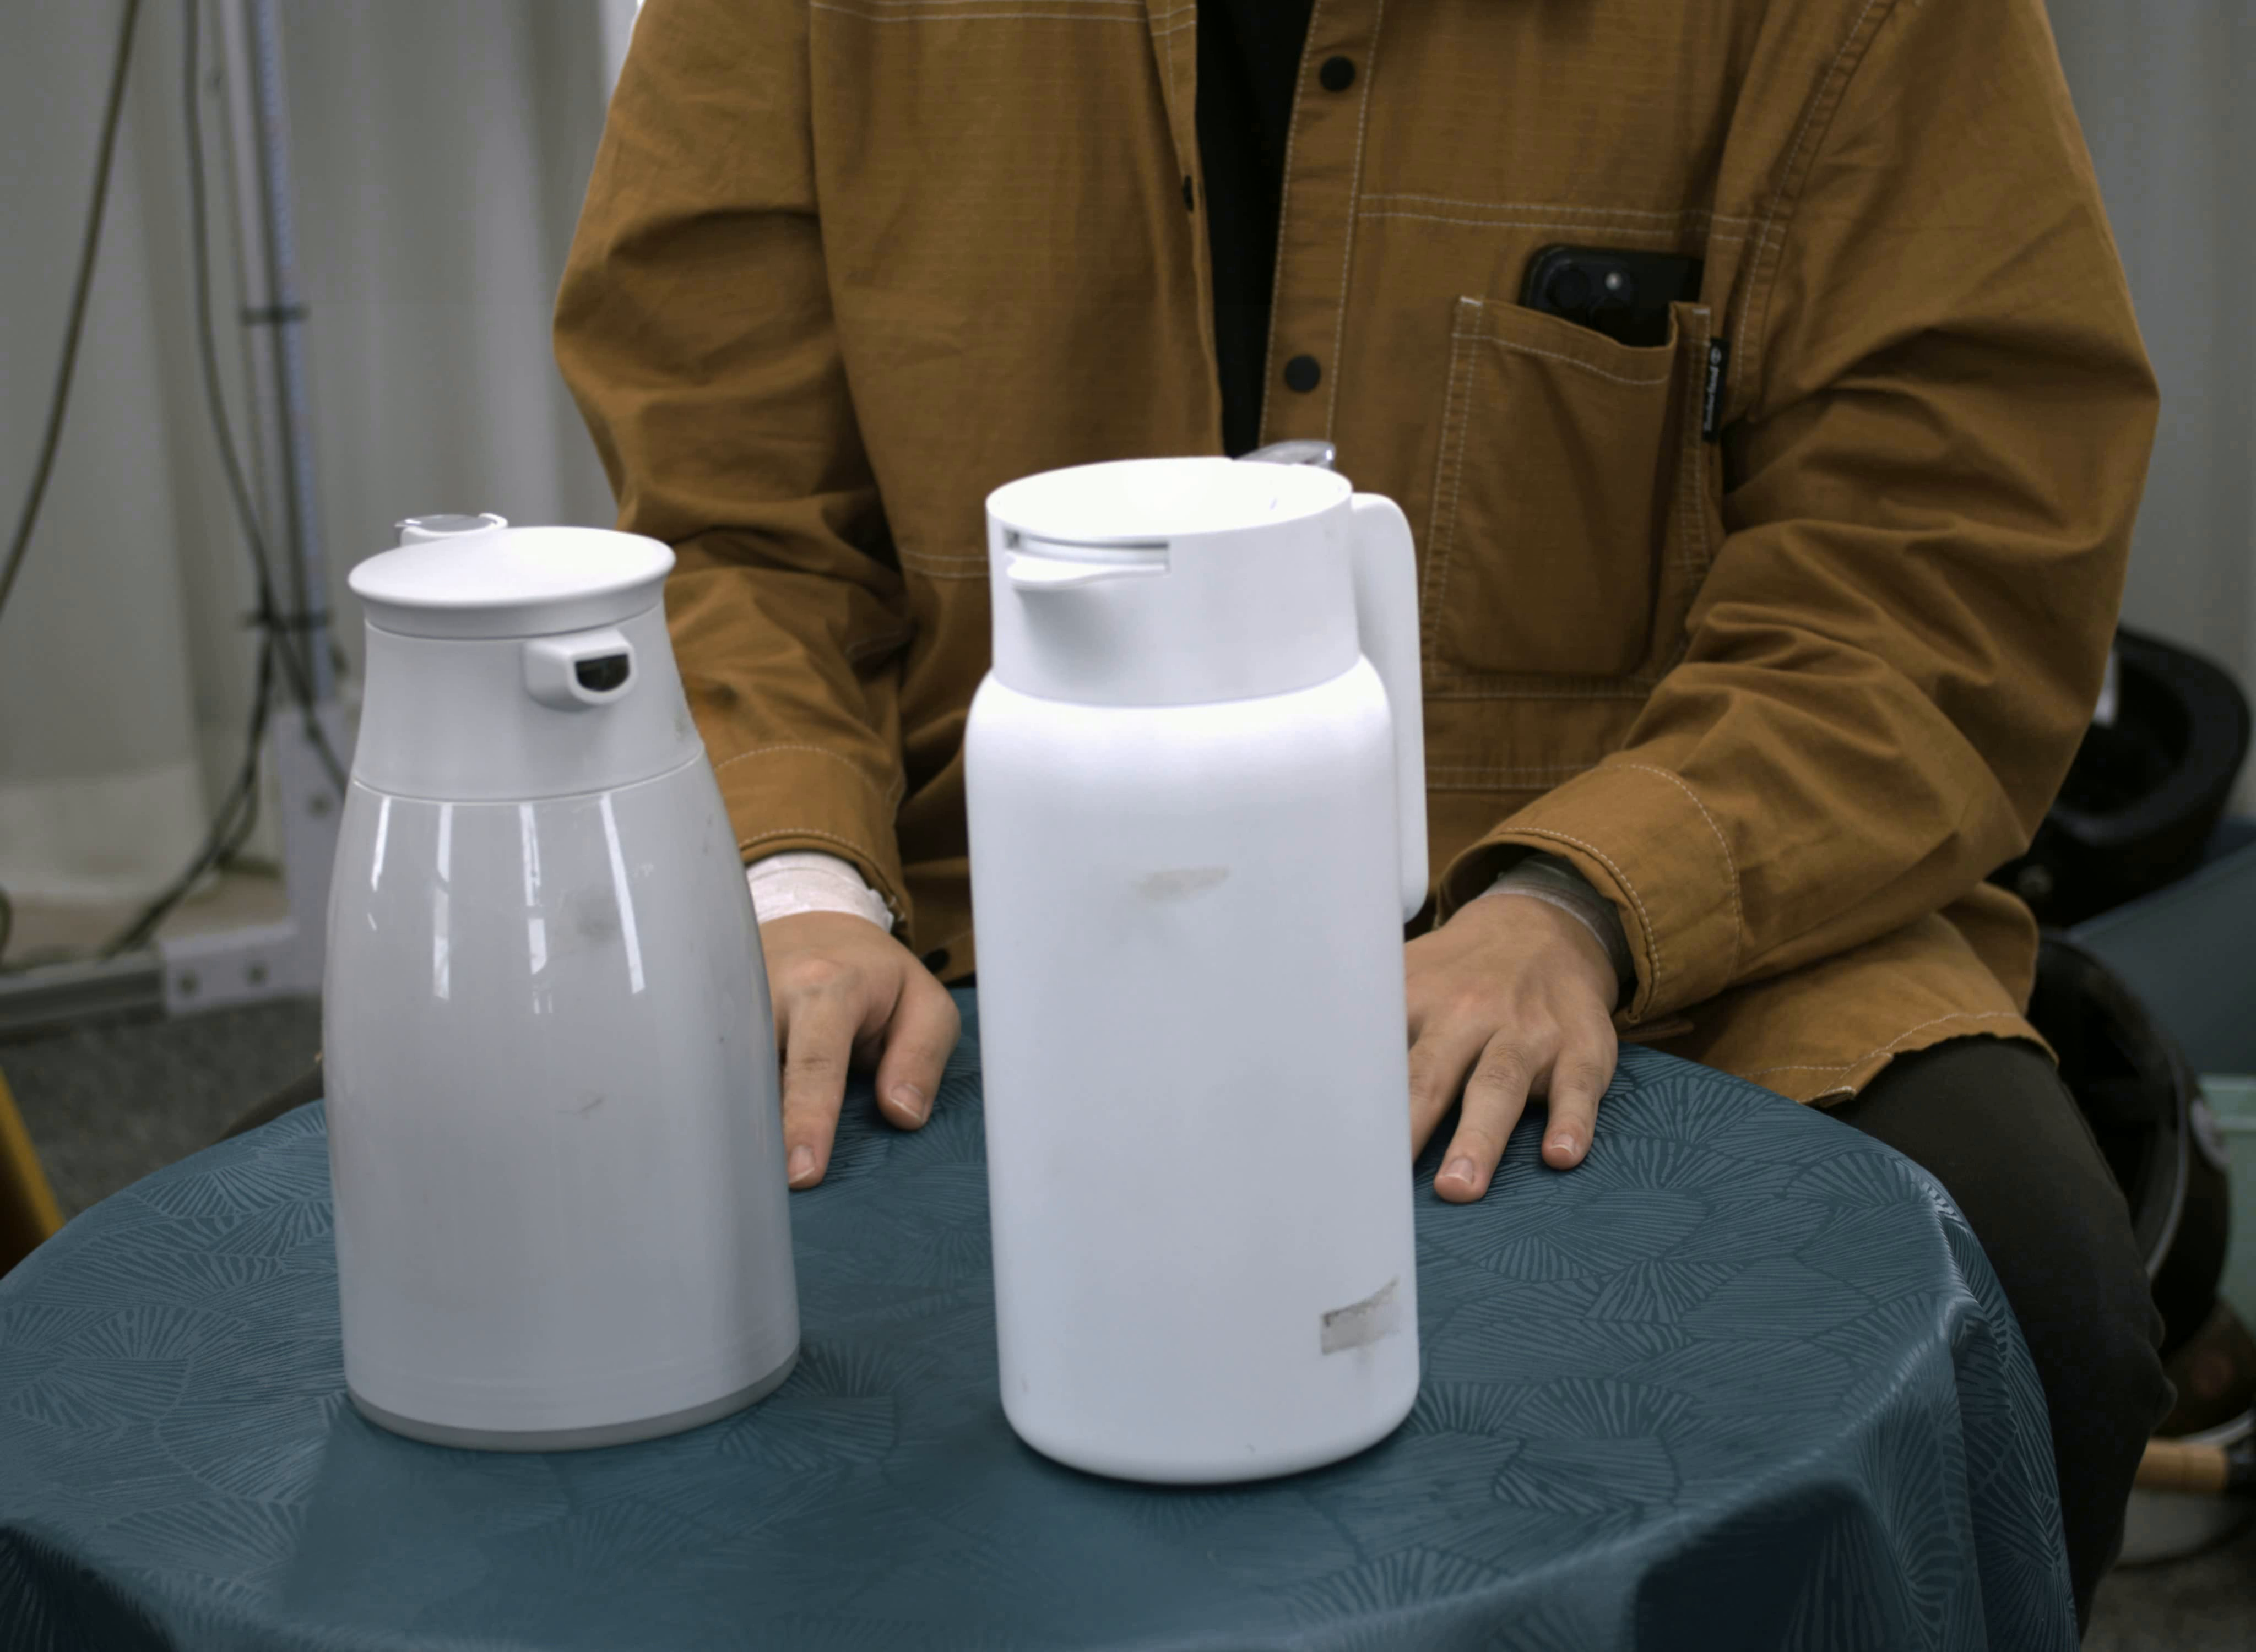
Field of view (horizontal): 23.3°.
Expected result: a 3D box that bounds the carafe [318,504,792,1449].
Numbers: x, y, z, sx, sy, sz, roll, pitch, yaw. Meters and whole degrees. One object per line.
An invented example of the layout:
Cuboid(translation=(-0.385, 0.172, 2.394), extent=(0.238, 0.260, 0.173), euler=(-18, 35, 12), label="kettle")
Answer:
Cuboid(translation=(-0.177, 0.034, 1.570), extent=(0.132, 0.248, 0.169), euler=(-10, 14, -28), label="carafe")

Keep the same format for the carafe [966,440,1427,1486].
Cuboid(translation=(0.026, 0.033, 1.502), extent=(0.124, 0.268, 0.173), euler=(4, 15, 33), label="carafe")
